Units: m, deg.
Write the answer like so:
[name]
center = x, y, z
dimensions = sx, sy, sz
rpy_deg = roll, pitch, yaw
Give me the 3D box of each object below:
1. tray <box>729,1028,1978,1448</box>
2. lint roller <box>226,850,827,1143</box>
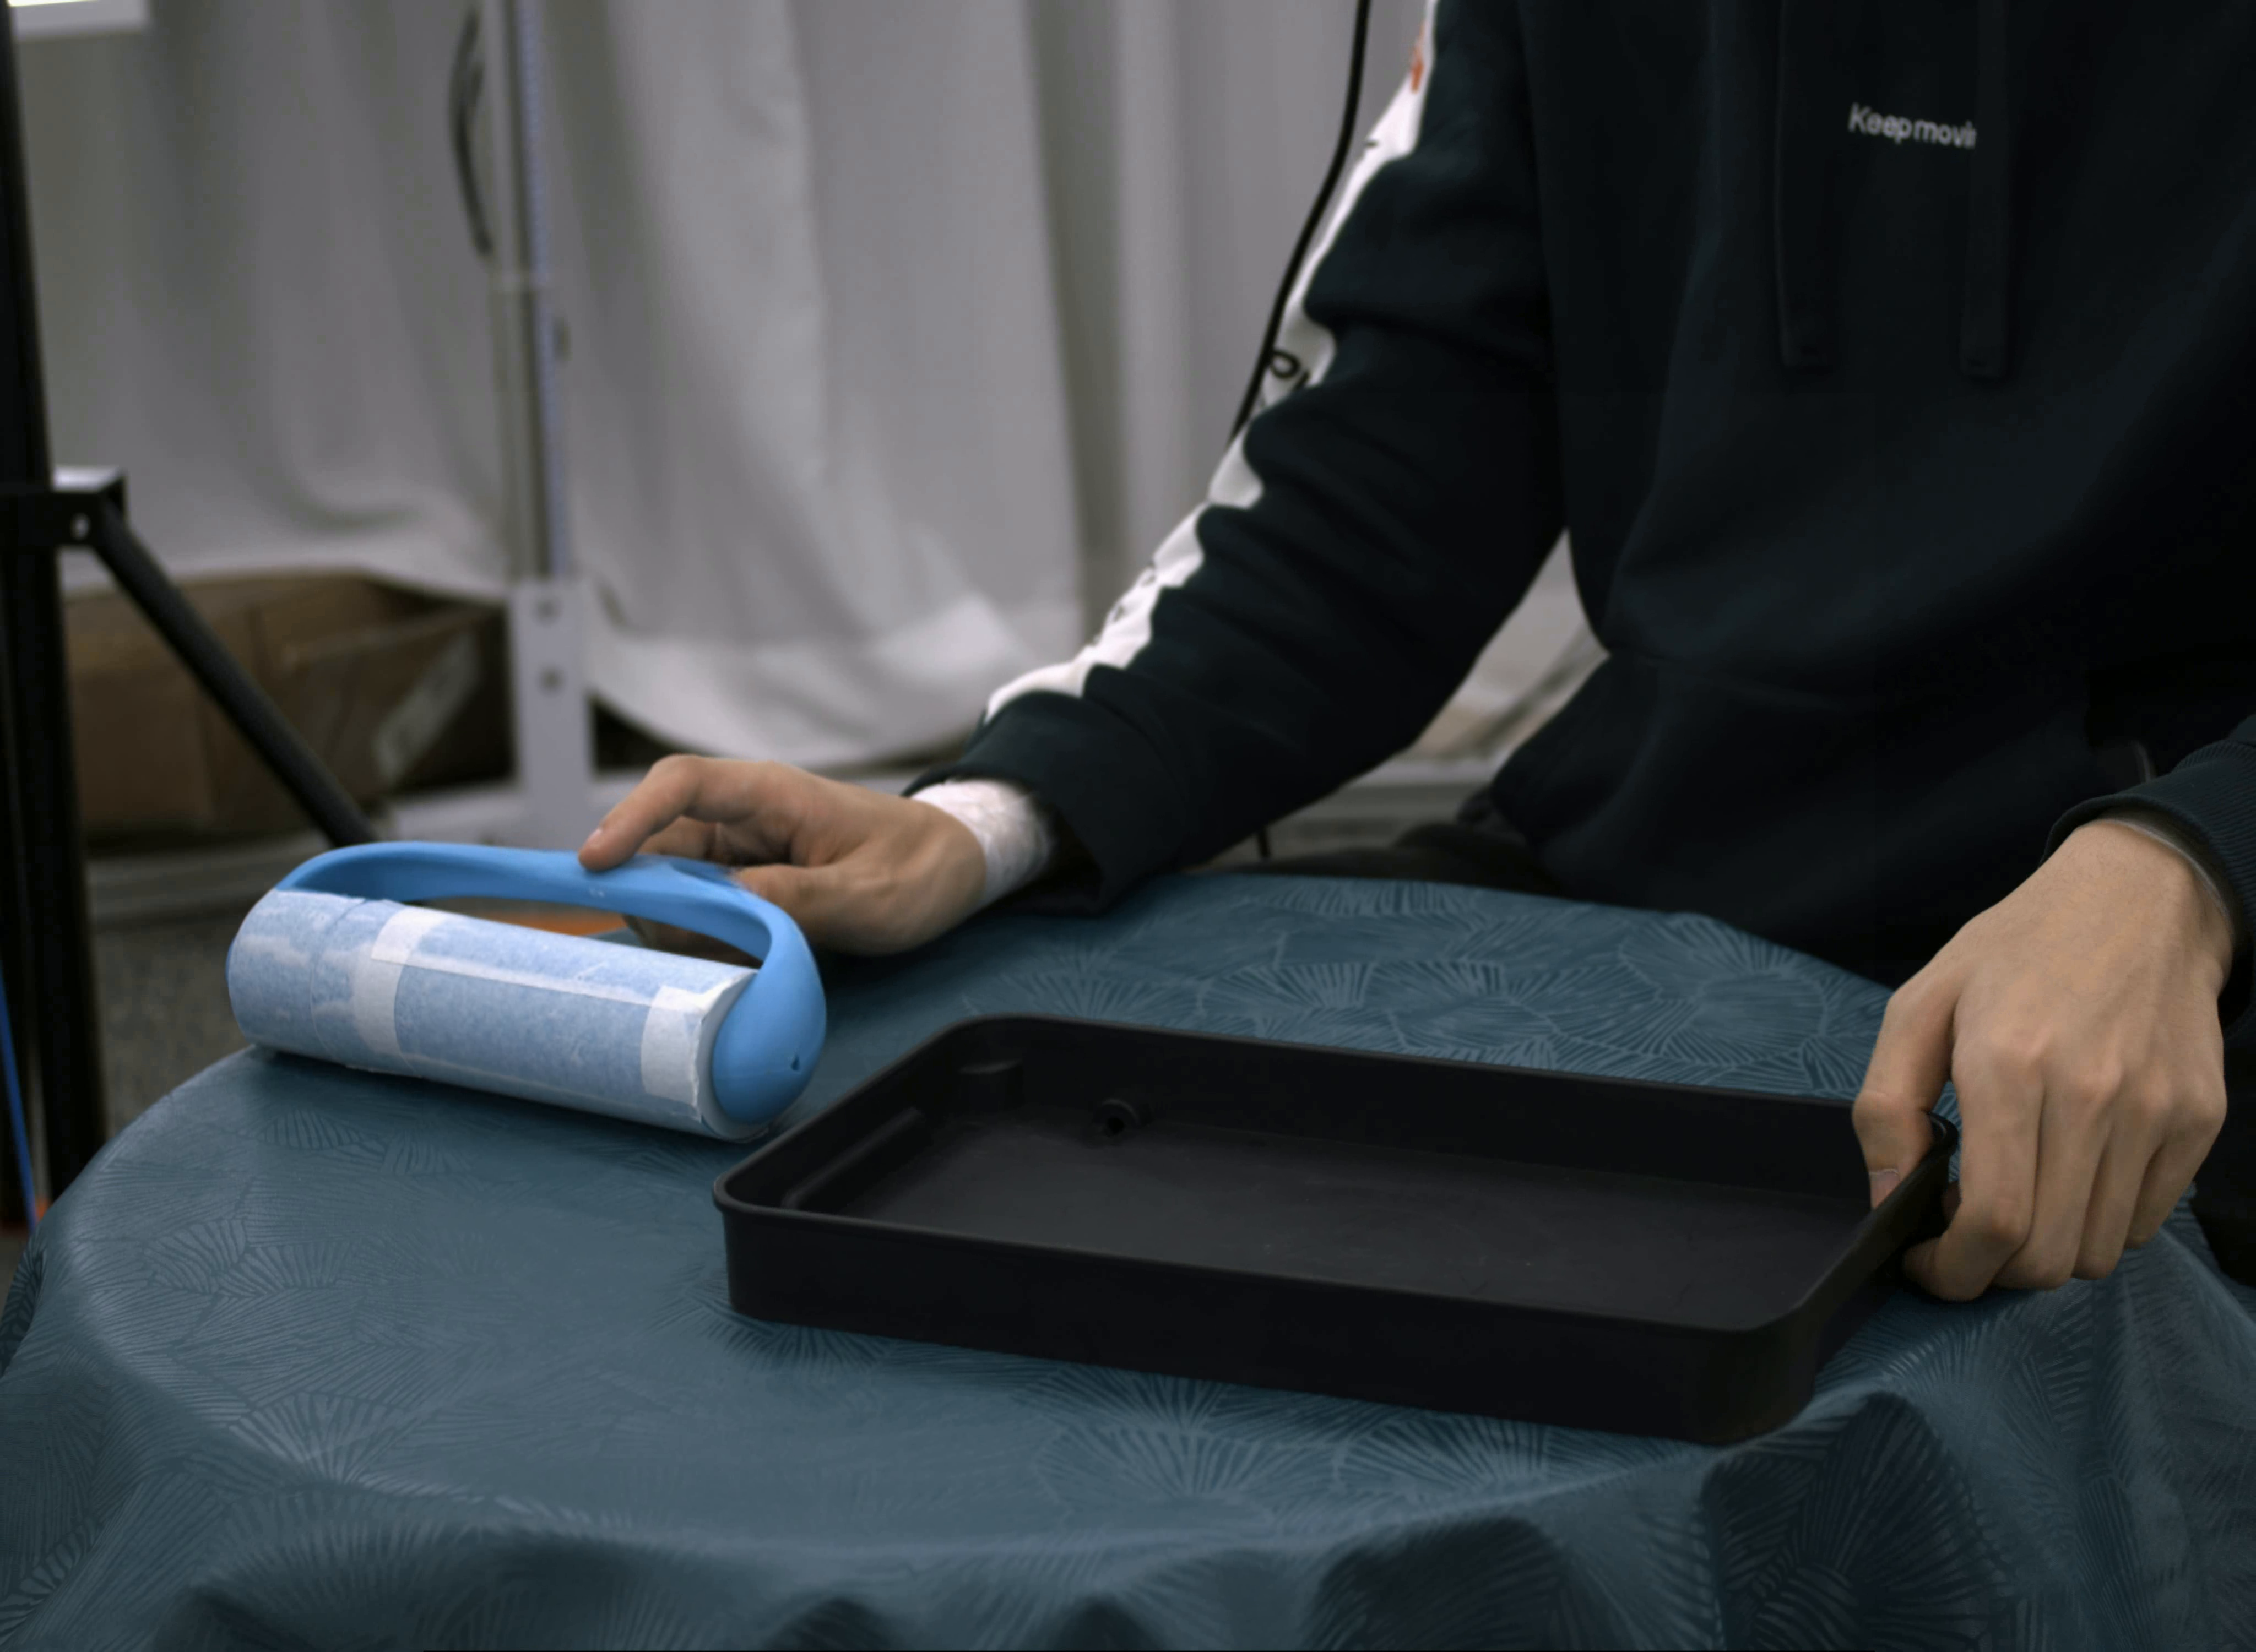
[tray]
center = 0.064, 0.111, 1.476
dimensions = 0.323, 0.037, 0.181
rpy_deg = 4, 17, 26
[lint roller]
center = -0.161, 0.042, 1.716
dimensions = 0.233, 0.068, 0.177
rpy_deg = 6, 19, 34
